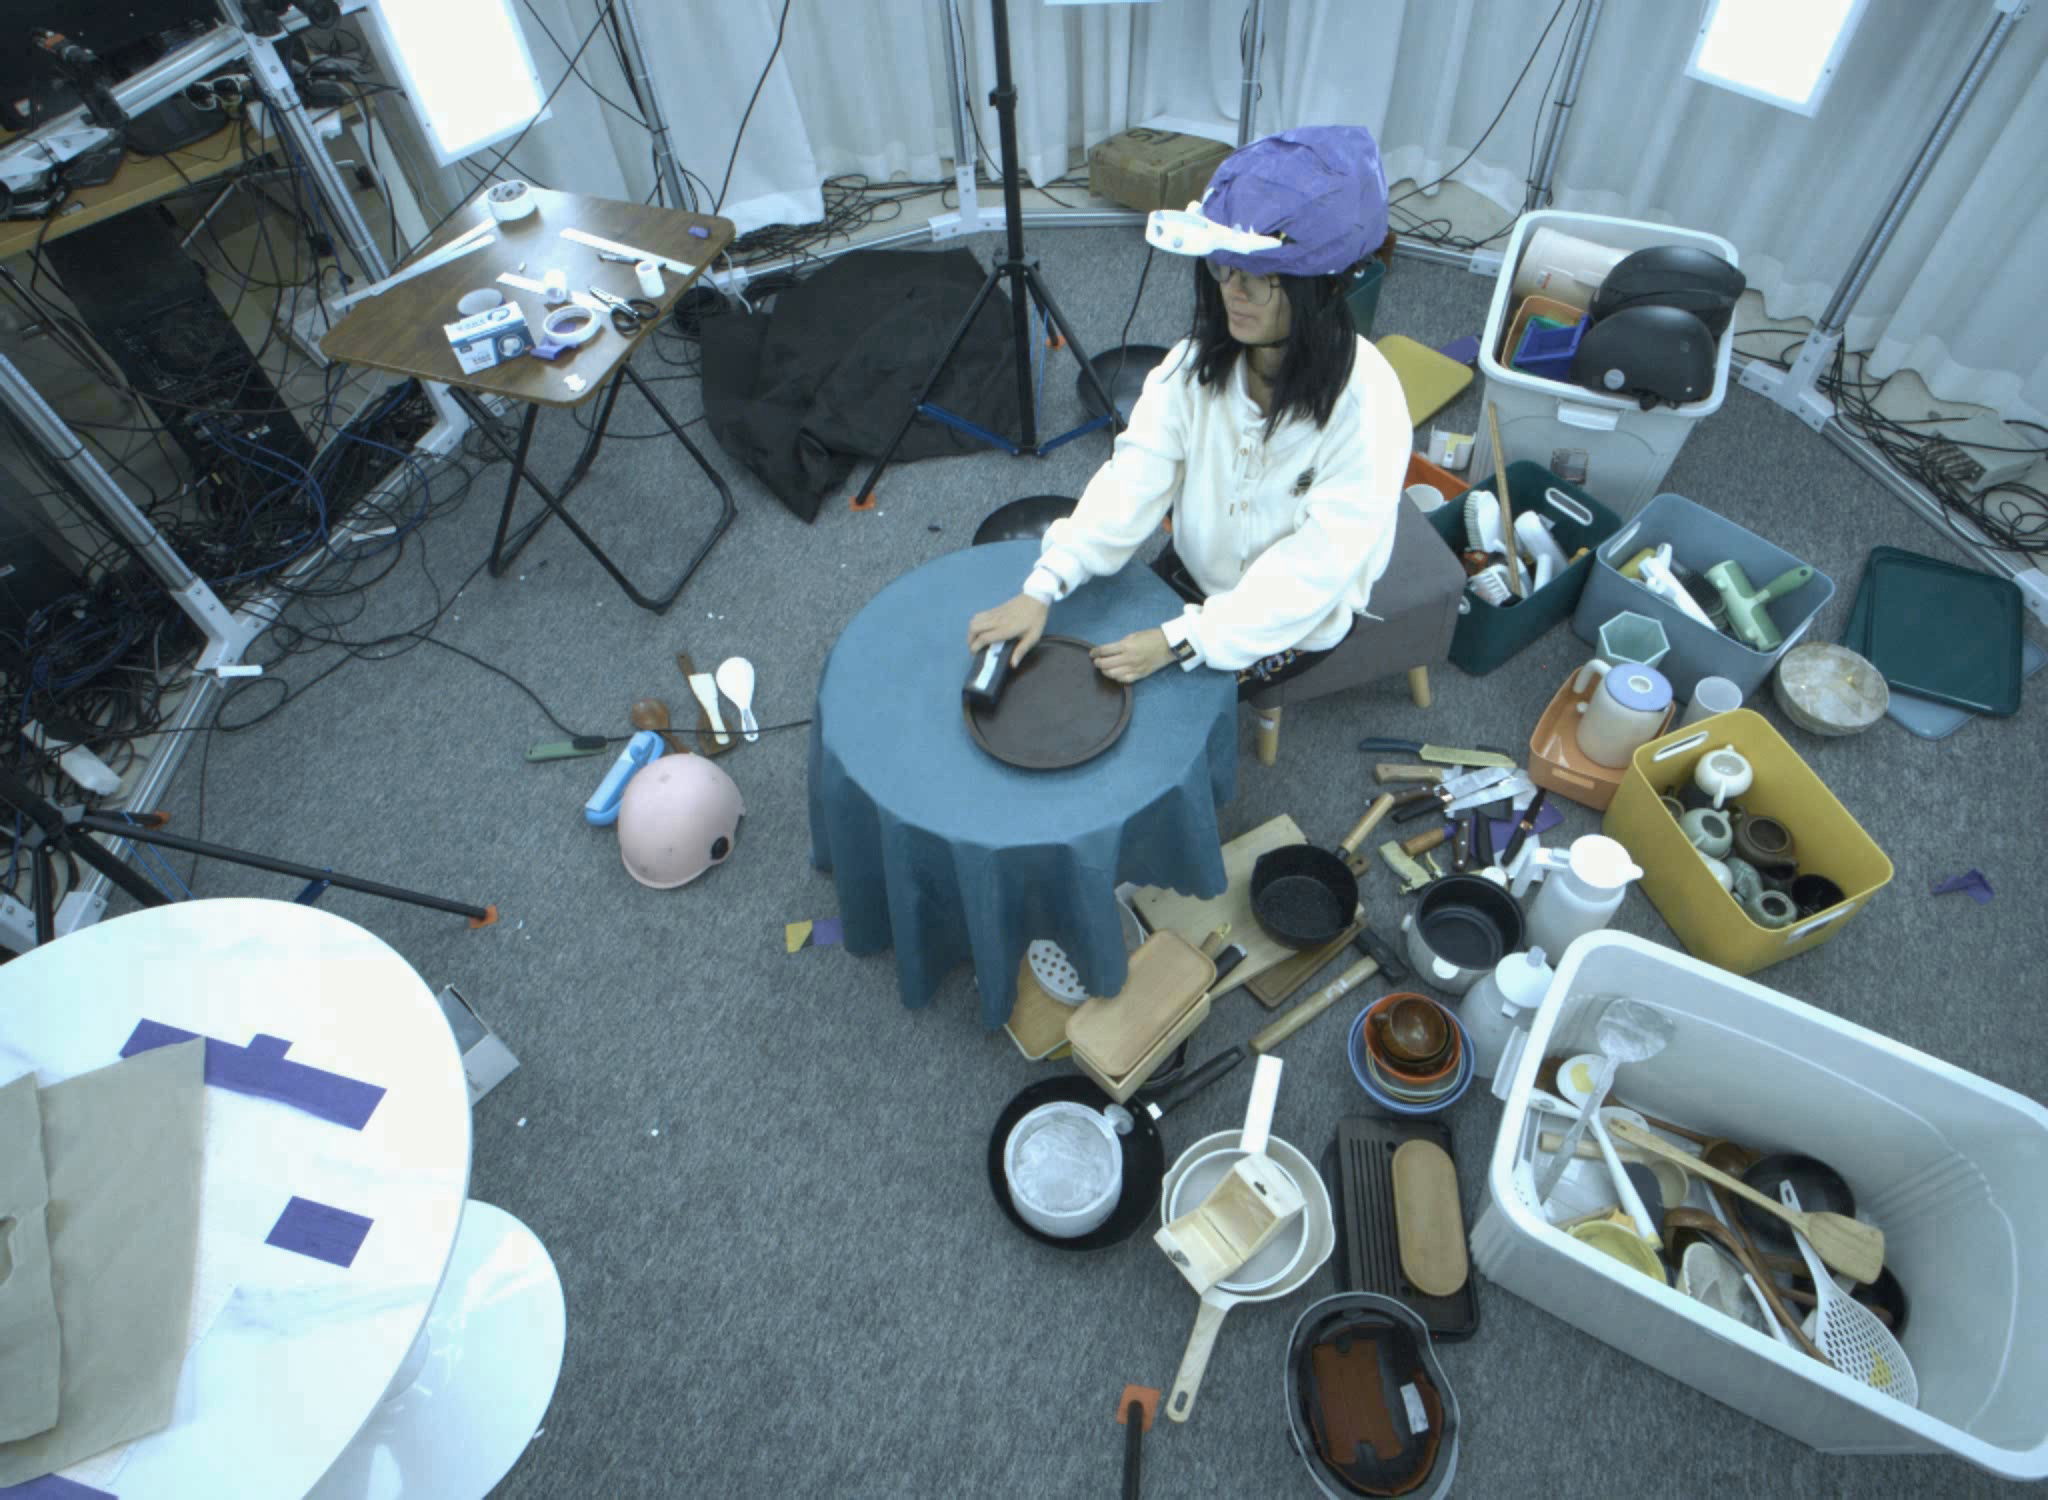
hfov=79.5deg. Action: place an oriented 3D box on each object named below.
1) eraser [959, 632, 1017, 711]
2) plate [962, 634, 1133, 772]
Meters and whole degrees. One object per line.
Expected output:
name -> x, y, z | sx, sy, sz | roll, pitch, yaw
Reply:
eraser -> -0.053, -0.117, 1.832 | 0.053, 0.030, 0.125 | 17, 56, 4
plate -> 0.034, -0.071, 1.822 | 0.254, 0.029, 0.252 | -1, 56, 3
